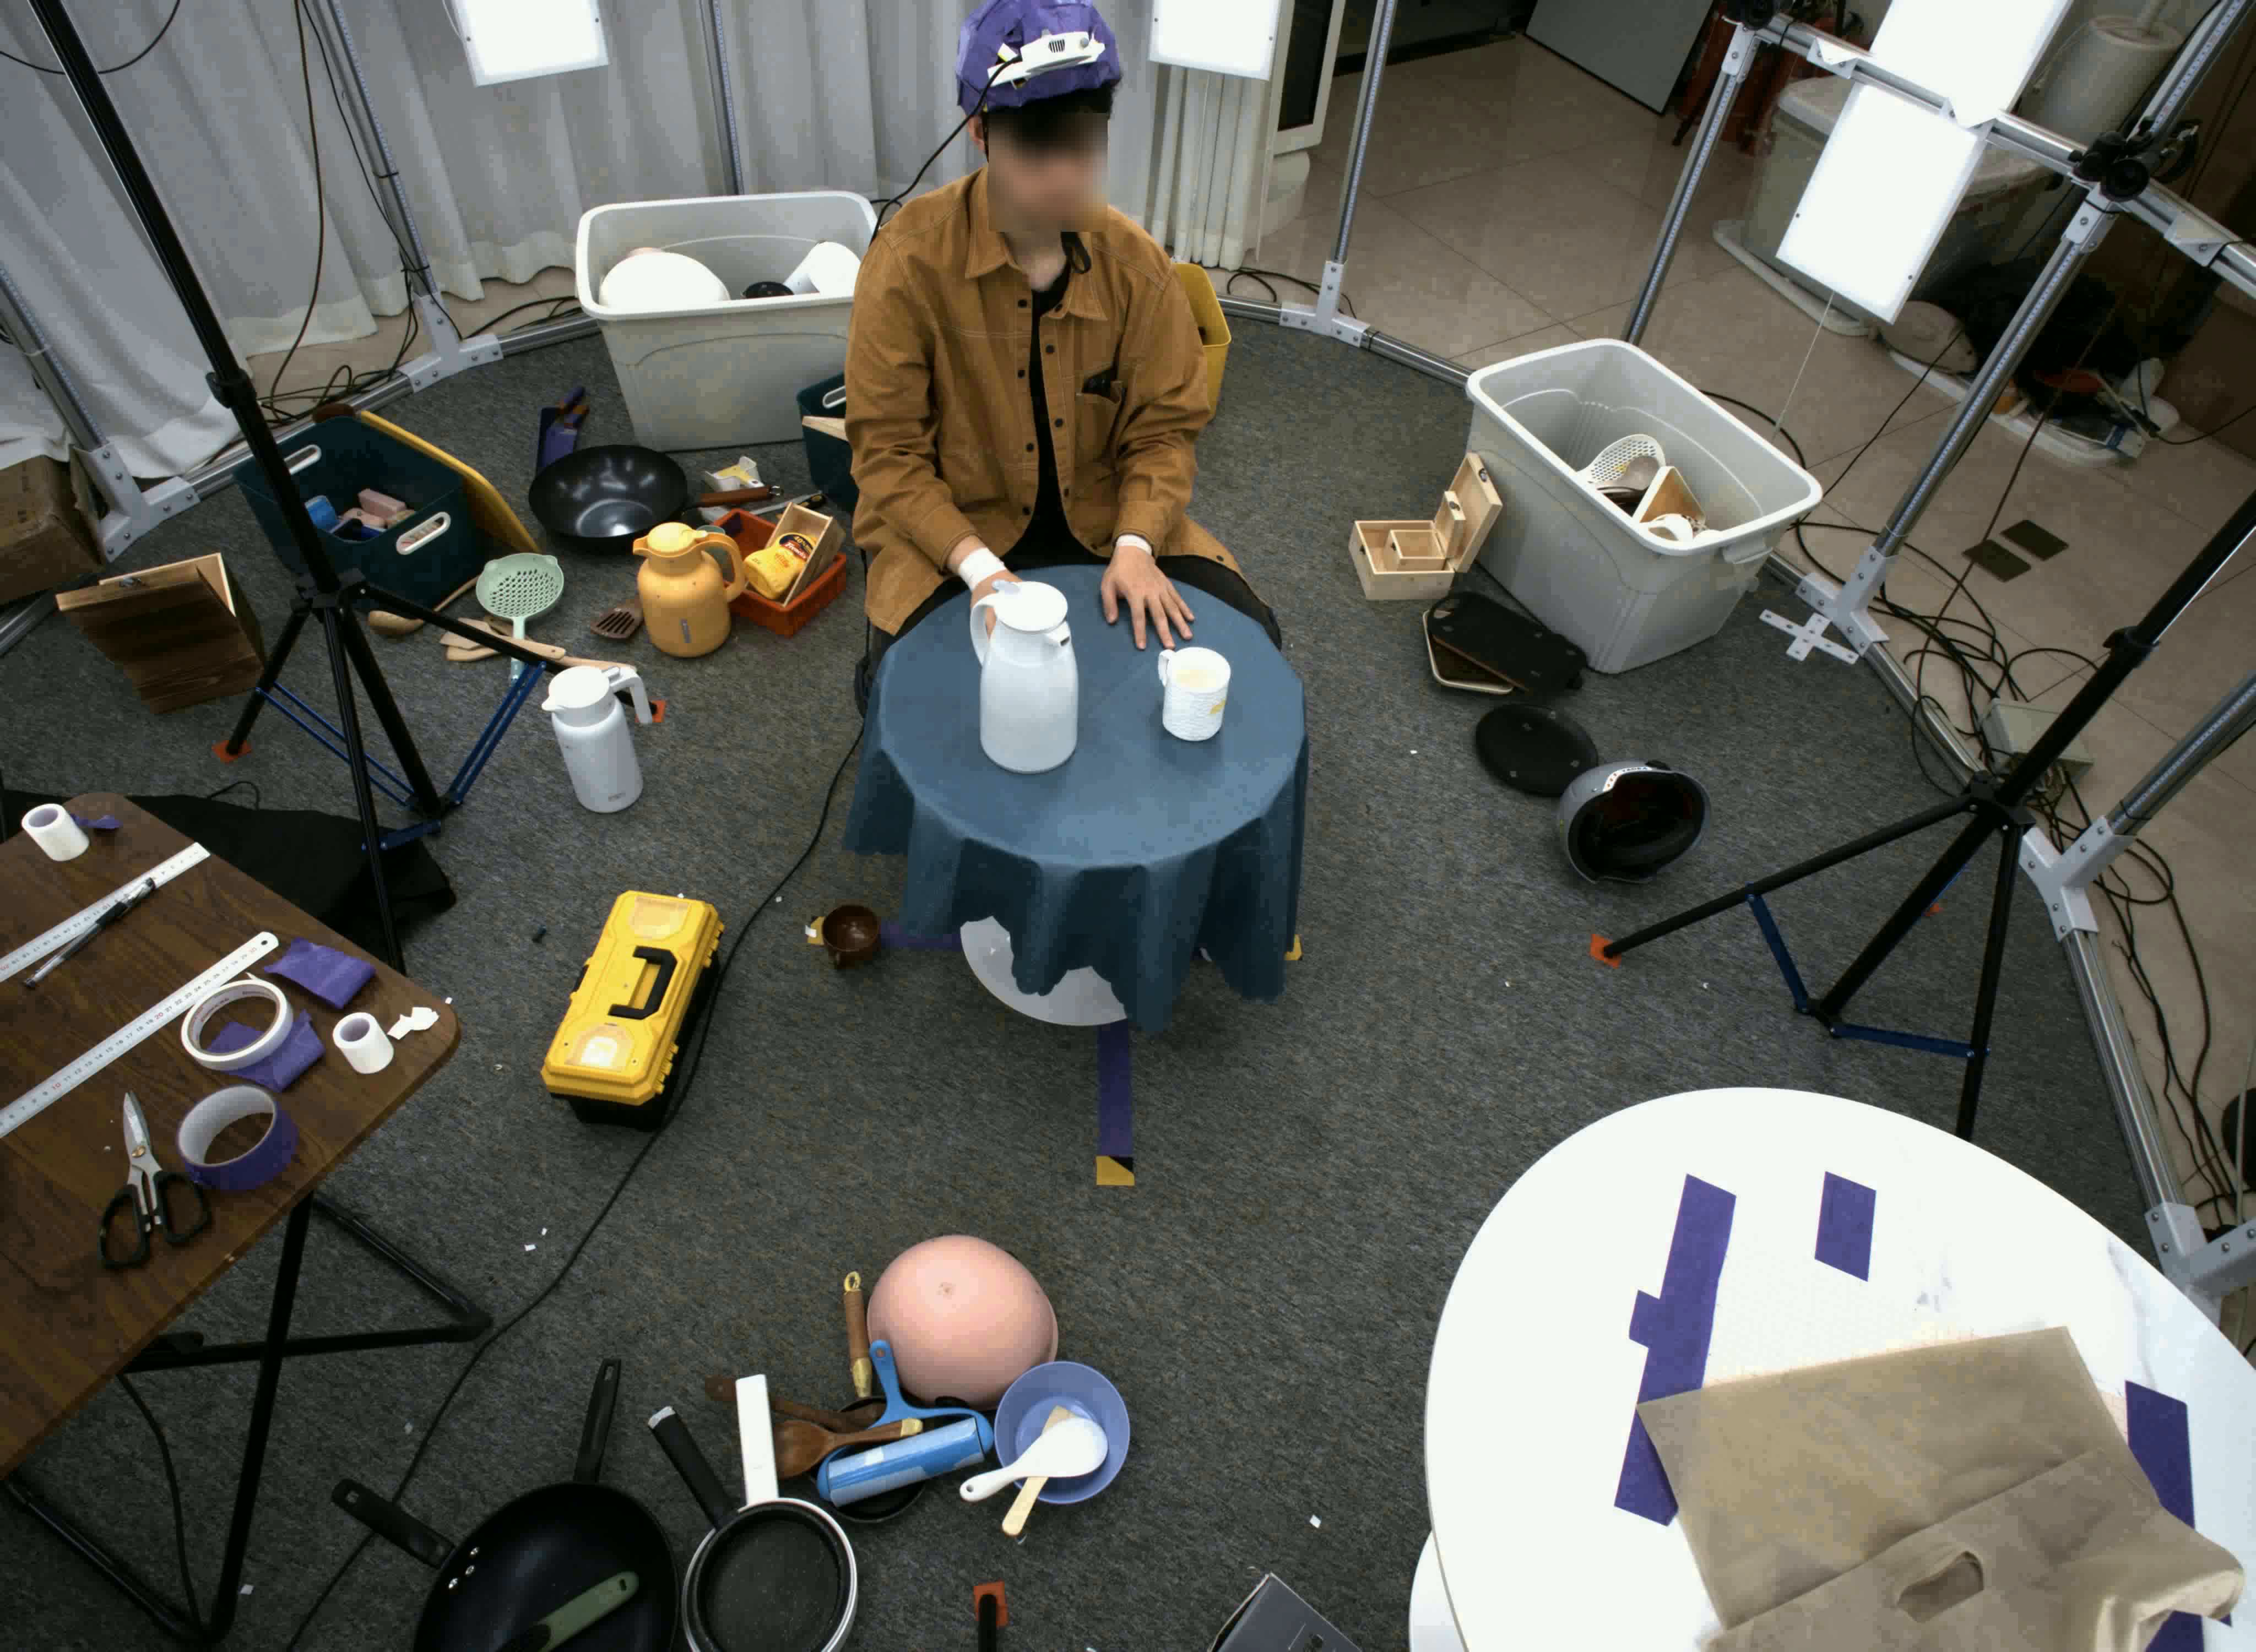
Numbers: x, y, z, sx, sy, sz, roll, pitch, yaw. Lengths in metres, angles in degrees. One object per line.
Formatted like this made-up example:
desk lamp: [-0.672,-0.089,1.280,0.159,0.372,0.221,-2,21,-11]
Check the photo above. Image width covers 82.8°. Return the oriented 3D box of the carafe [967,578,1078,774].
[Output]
carafe: [-0.145,-0.208,1.681,0.170,0.242,0.134,36,57,24]

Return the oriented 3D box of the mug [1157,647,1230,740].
mug: [0.082,-0.190,1.772,0.085,0.099,0.120,-30,57,-27]
